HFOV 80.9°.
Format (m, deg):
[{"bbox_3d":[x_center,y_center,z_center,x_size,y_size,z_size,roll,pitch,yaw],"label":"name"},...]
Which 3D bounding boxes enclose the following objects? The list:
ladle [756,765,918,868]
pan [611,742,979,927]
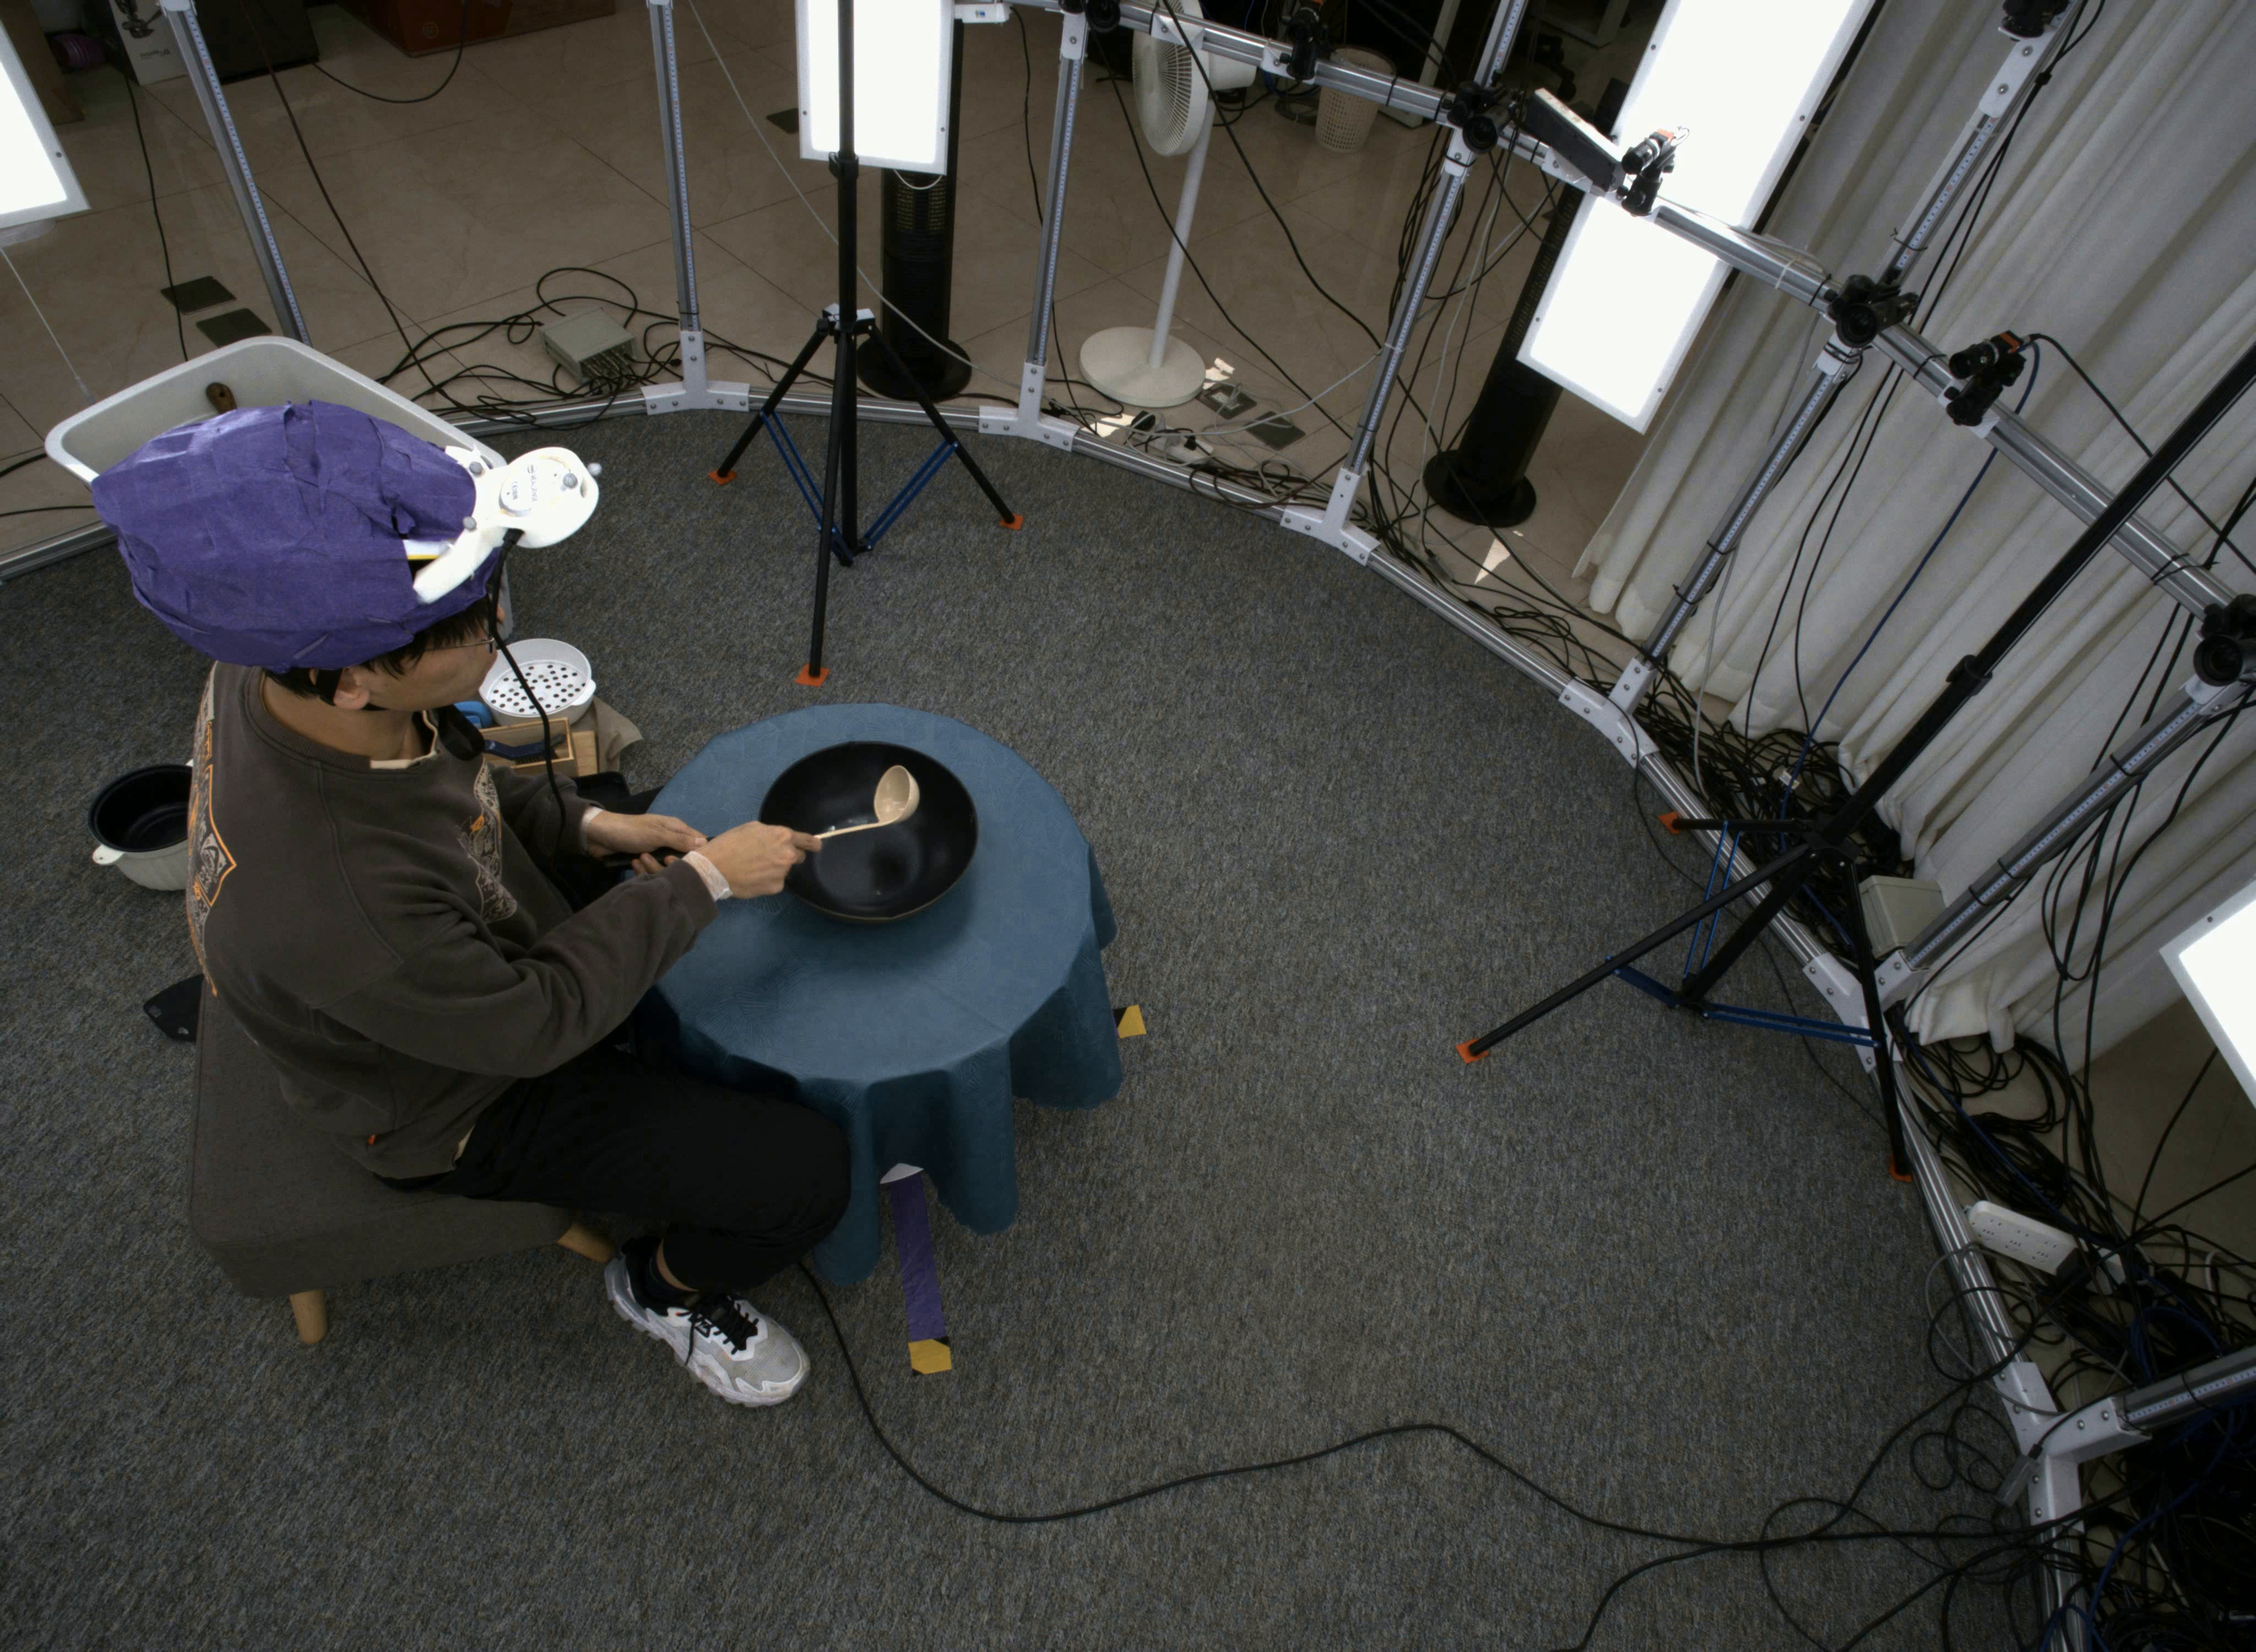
[{"bbox_3d":[-0.362,-0.018,1.595,0.070,0.074,0.257,0,13,36],"label":"ladle"},{"bbox_3d":[-0.420,0.036,1.661,0.464,0.089,0.281,-8,57,-17],"label":"pan"}]
